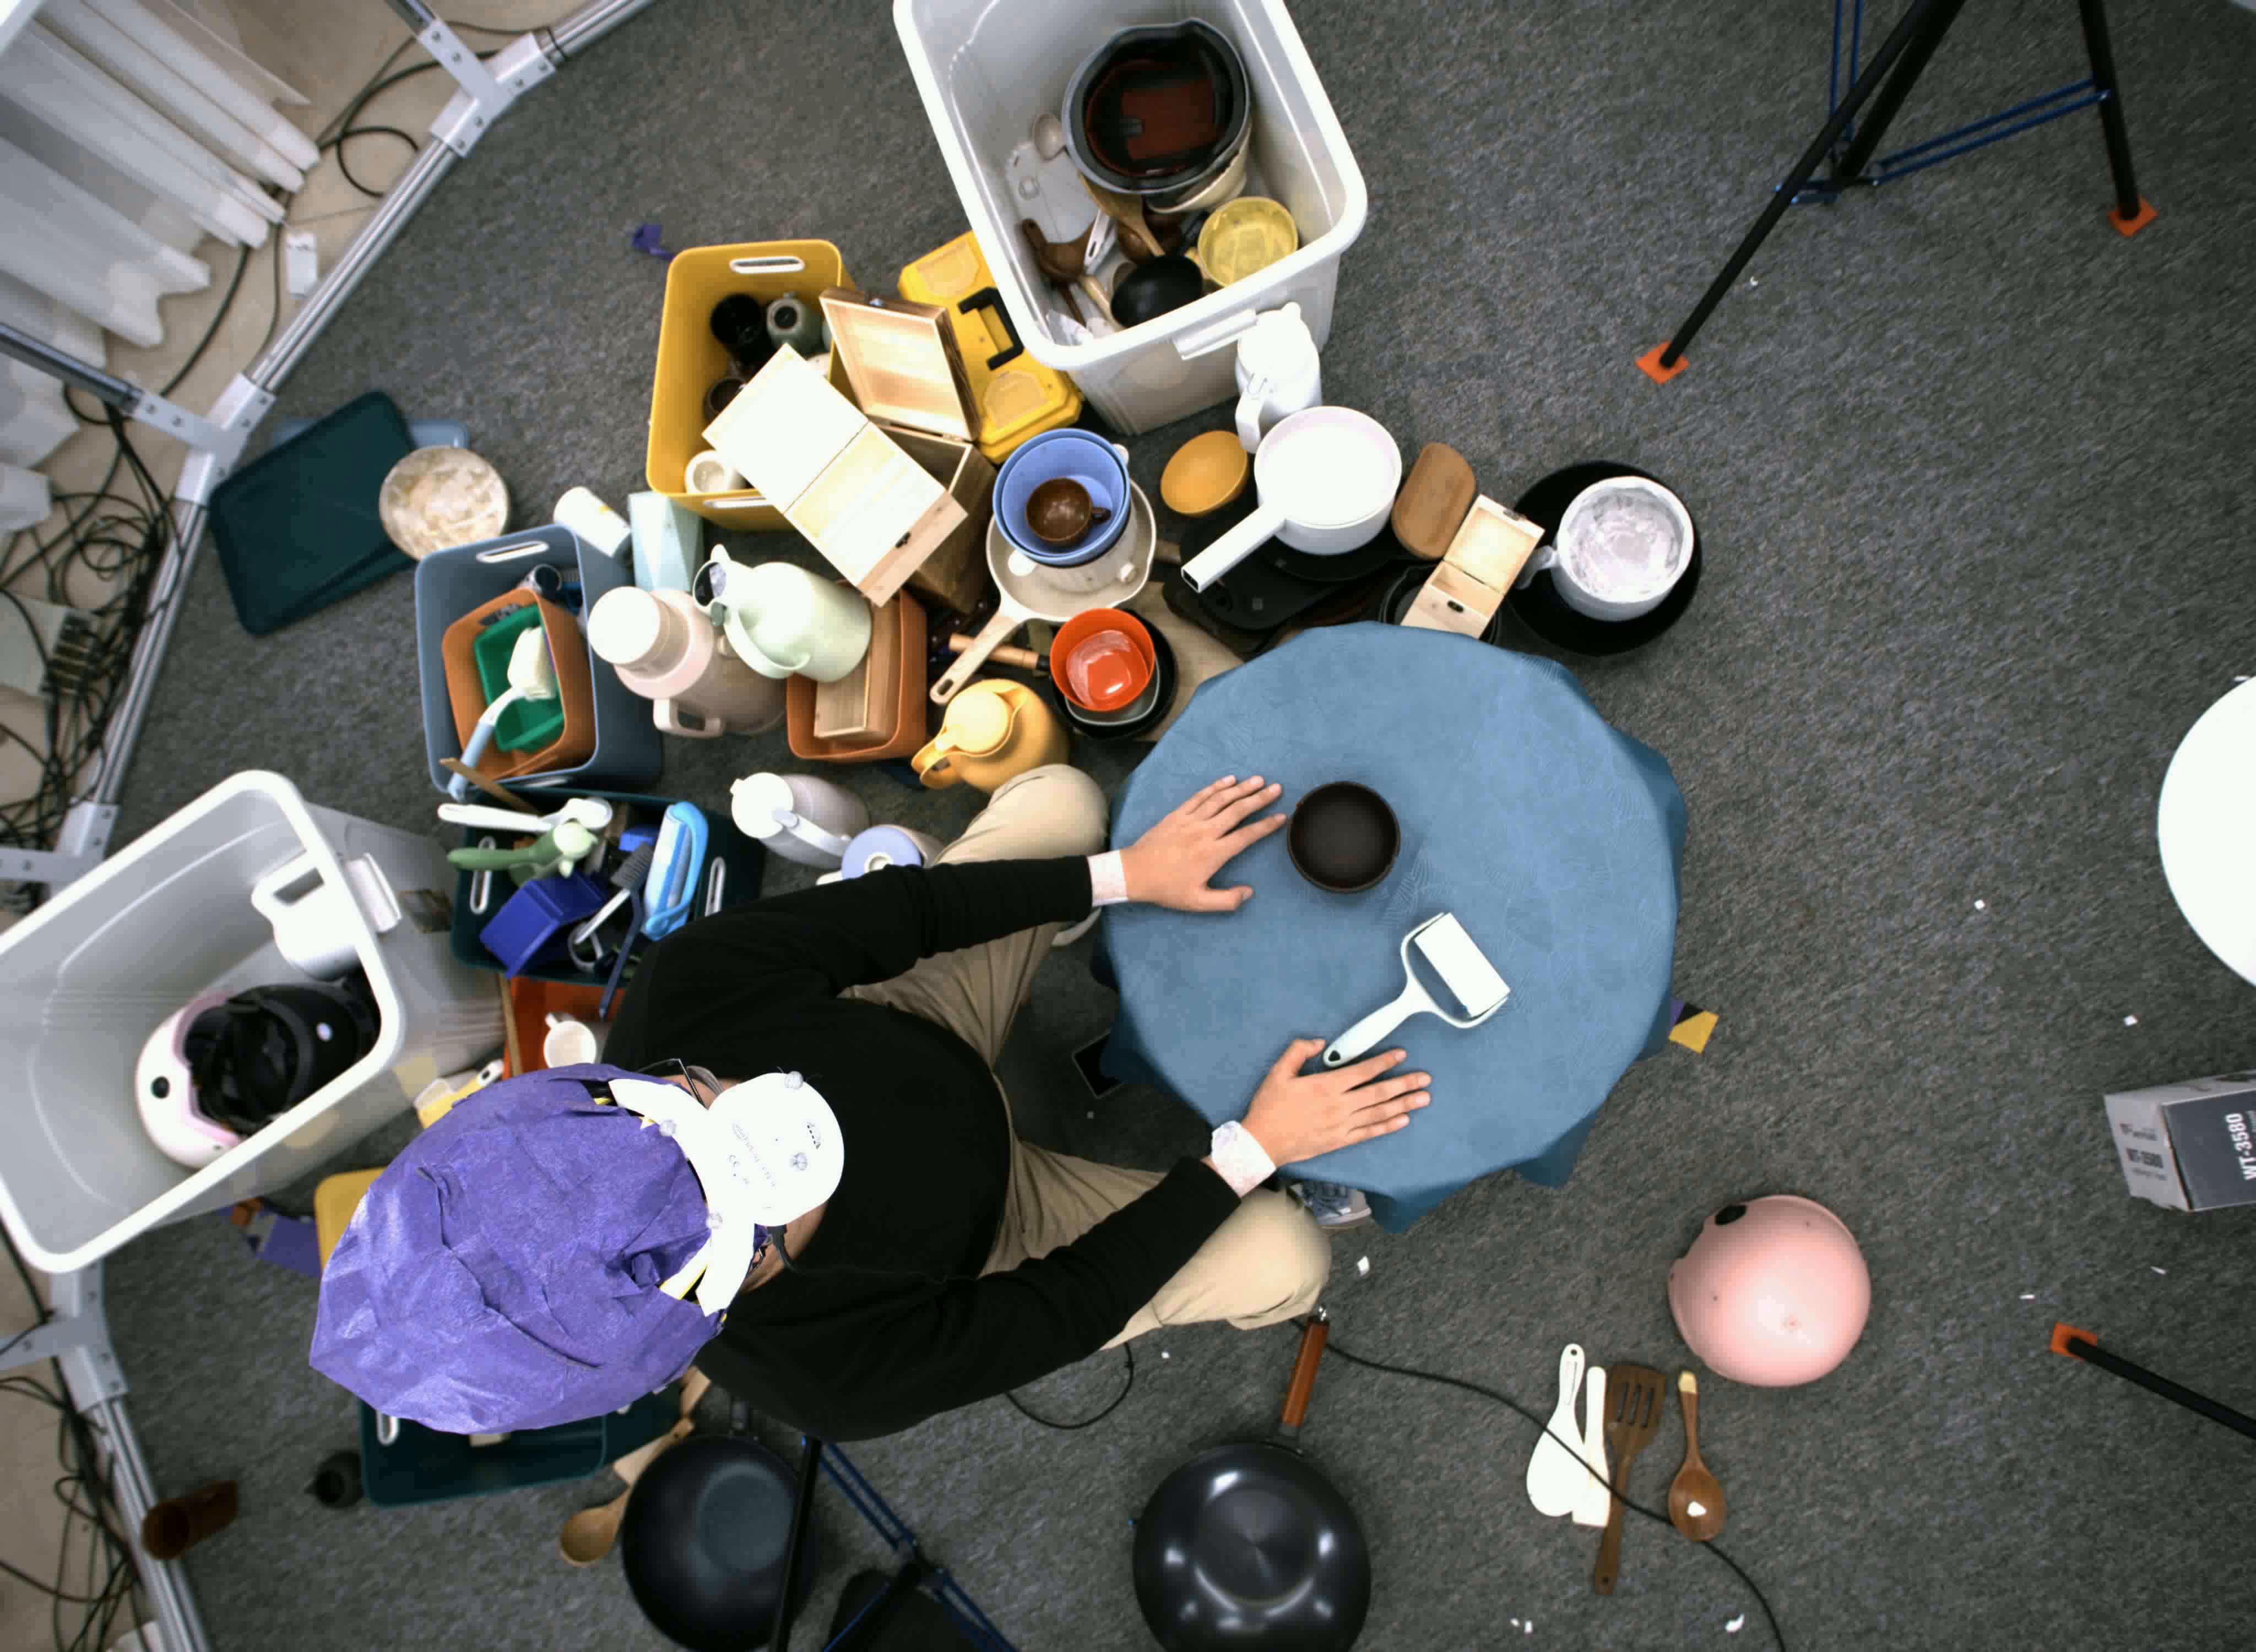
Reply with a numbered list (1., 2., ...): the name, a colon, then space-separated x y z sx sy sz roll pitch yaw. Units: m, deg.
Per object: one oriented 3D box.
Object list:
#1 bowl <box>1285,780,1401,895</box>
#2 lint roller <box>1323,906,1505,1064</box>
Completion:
1. bowl: 0.224 0.012 1.436 0.118 0.070 0.117 -1 87 11
2. lint roller: 0.280 0.179 1.430 0.199 0.048 0.116 -38 81 8
